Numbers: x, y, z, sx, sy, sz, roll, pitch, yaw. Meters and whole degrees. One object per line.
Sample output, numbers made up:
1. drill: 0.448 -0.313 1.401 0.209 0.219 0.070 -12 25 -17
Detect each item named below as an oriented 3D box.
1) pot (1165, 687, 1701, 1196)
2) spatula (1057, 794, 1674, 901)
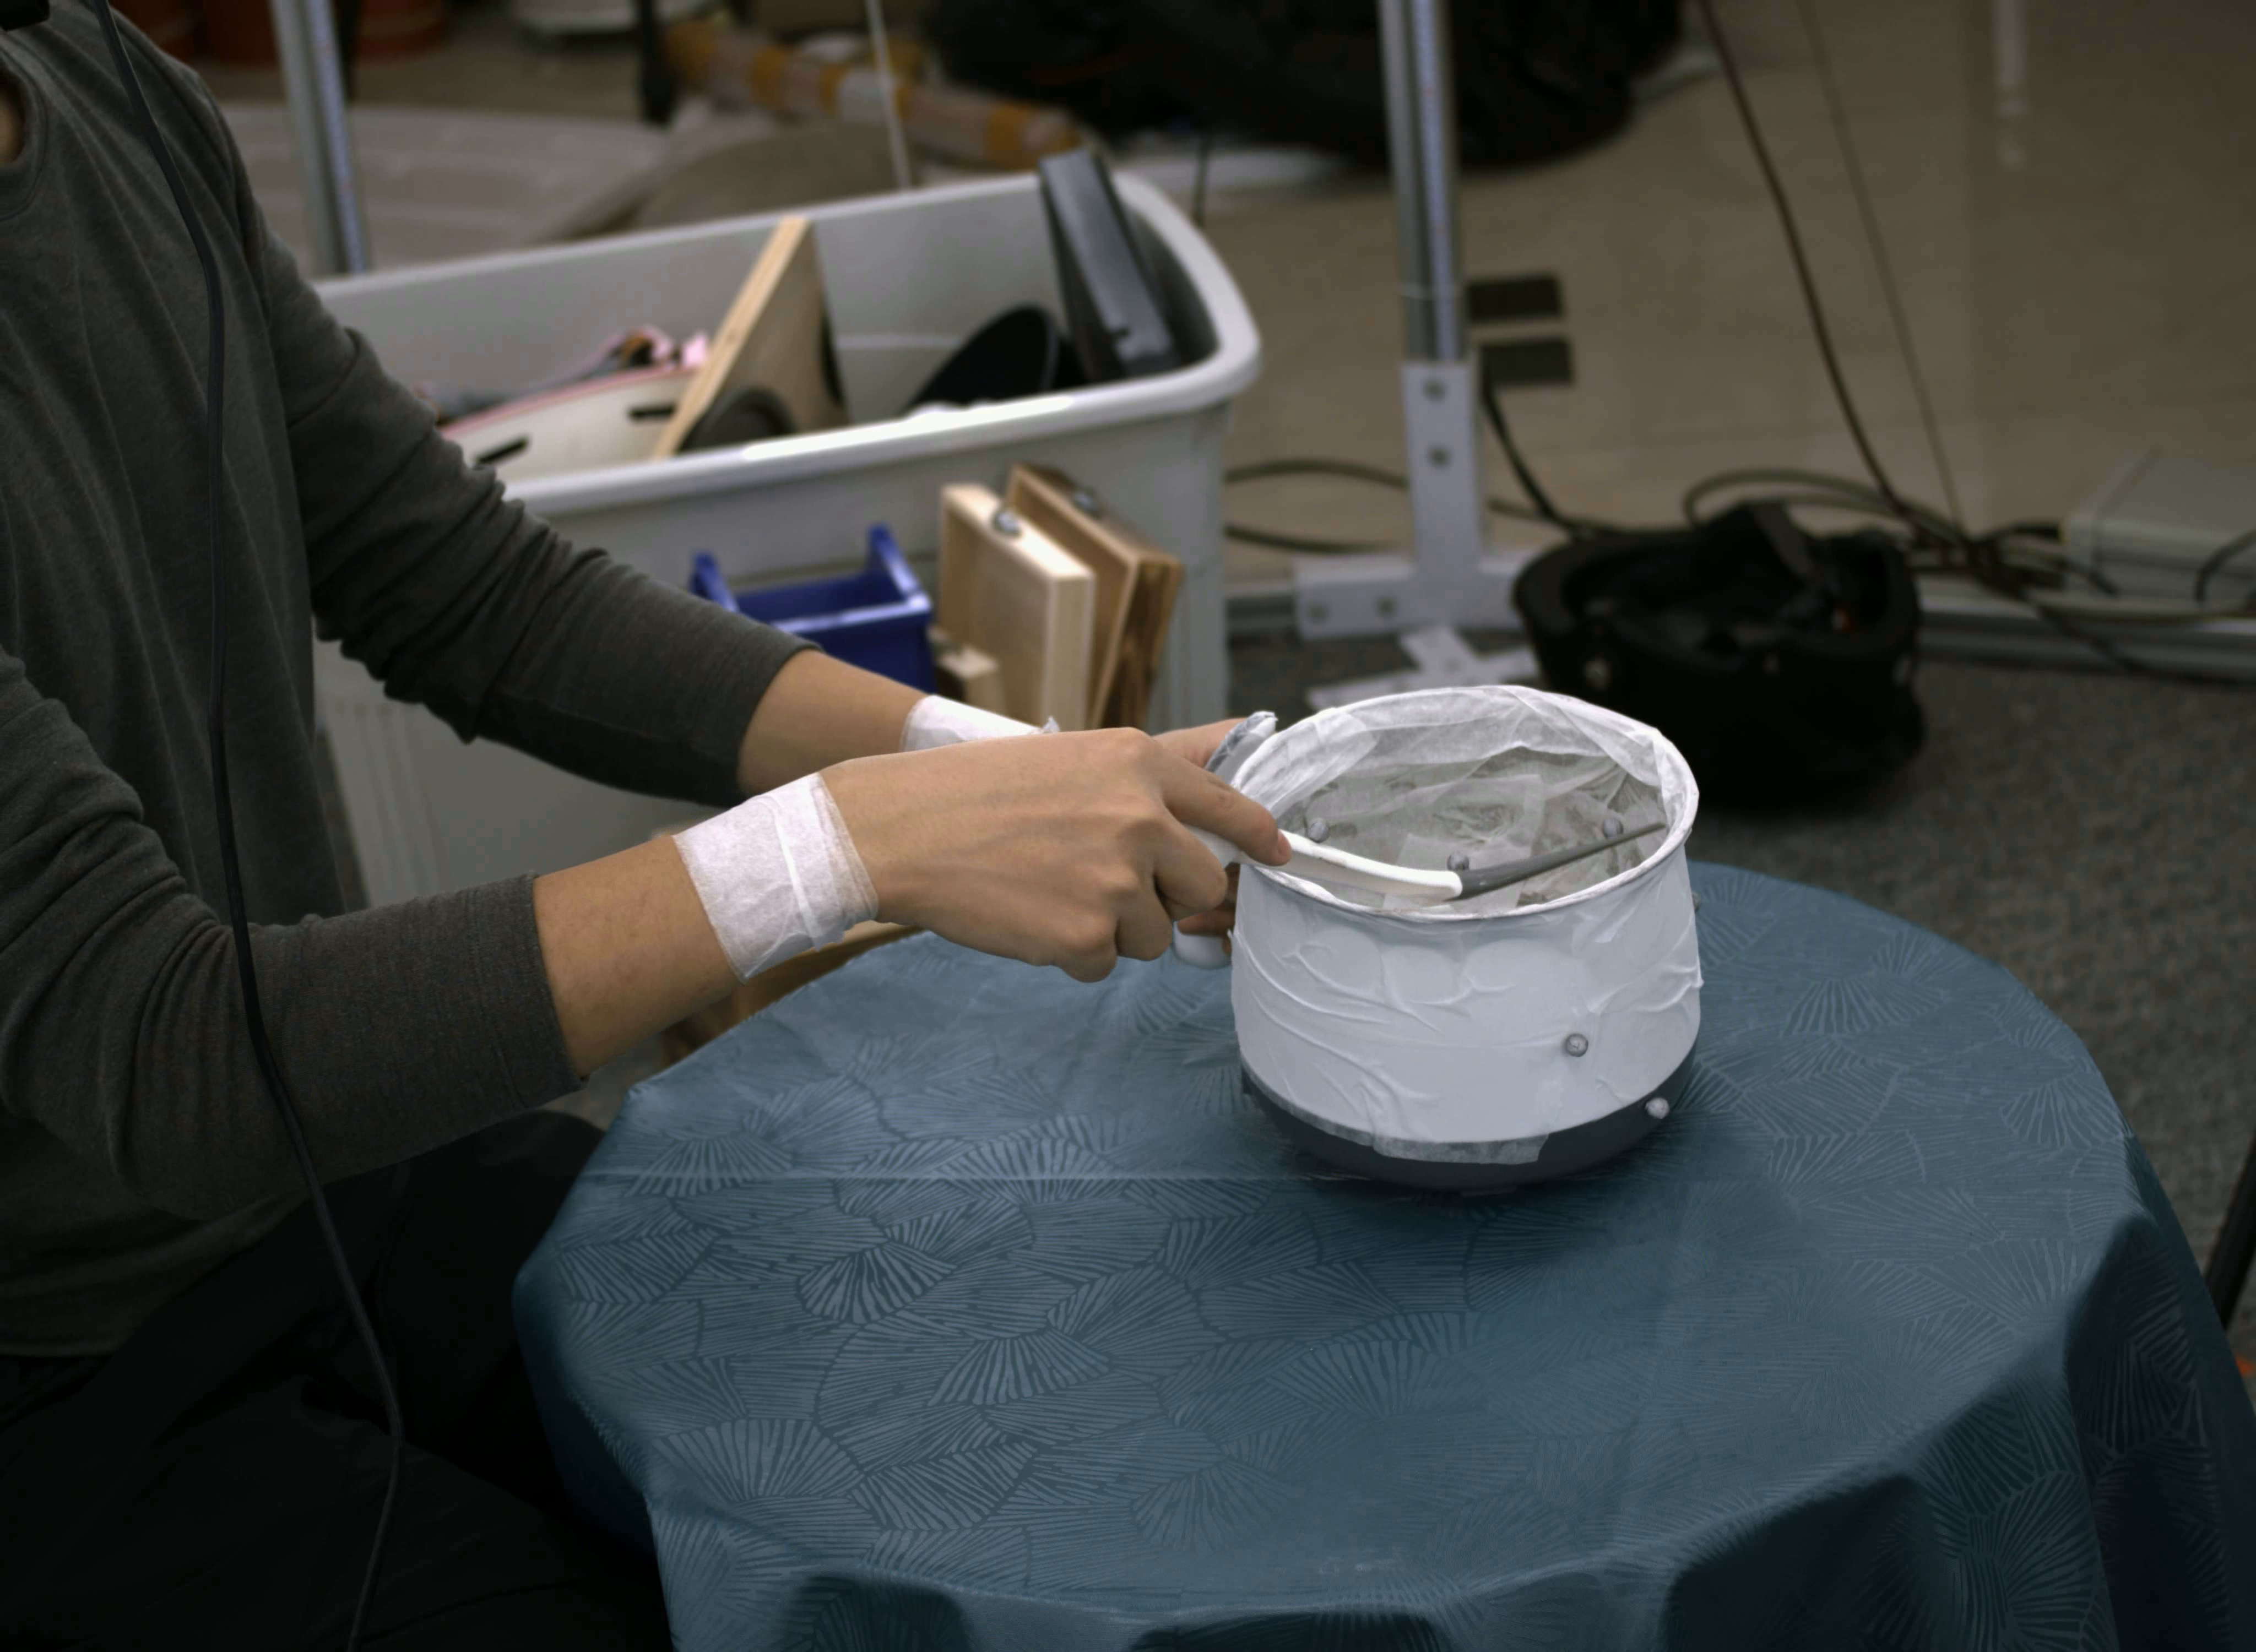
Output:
1. pot: 0.106 0.037 2.160 0.232 0.139 0.177 21 38 36
2. spatula: 0.089 0.010 2.038 0.288 0.032 0.059 3 -19 -43
